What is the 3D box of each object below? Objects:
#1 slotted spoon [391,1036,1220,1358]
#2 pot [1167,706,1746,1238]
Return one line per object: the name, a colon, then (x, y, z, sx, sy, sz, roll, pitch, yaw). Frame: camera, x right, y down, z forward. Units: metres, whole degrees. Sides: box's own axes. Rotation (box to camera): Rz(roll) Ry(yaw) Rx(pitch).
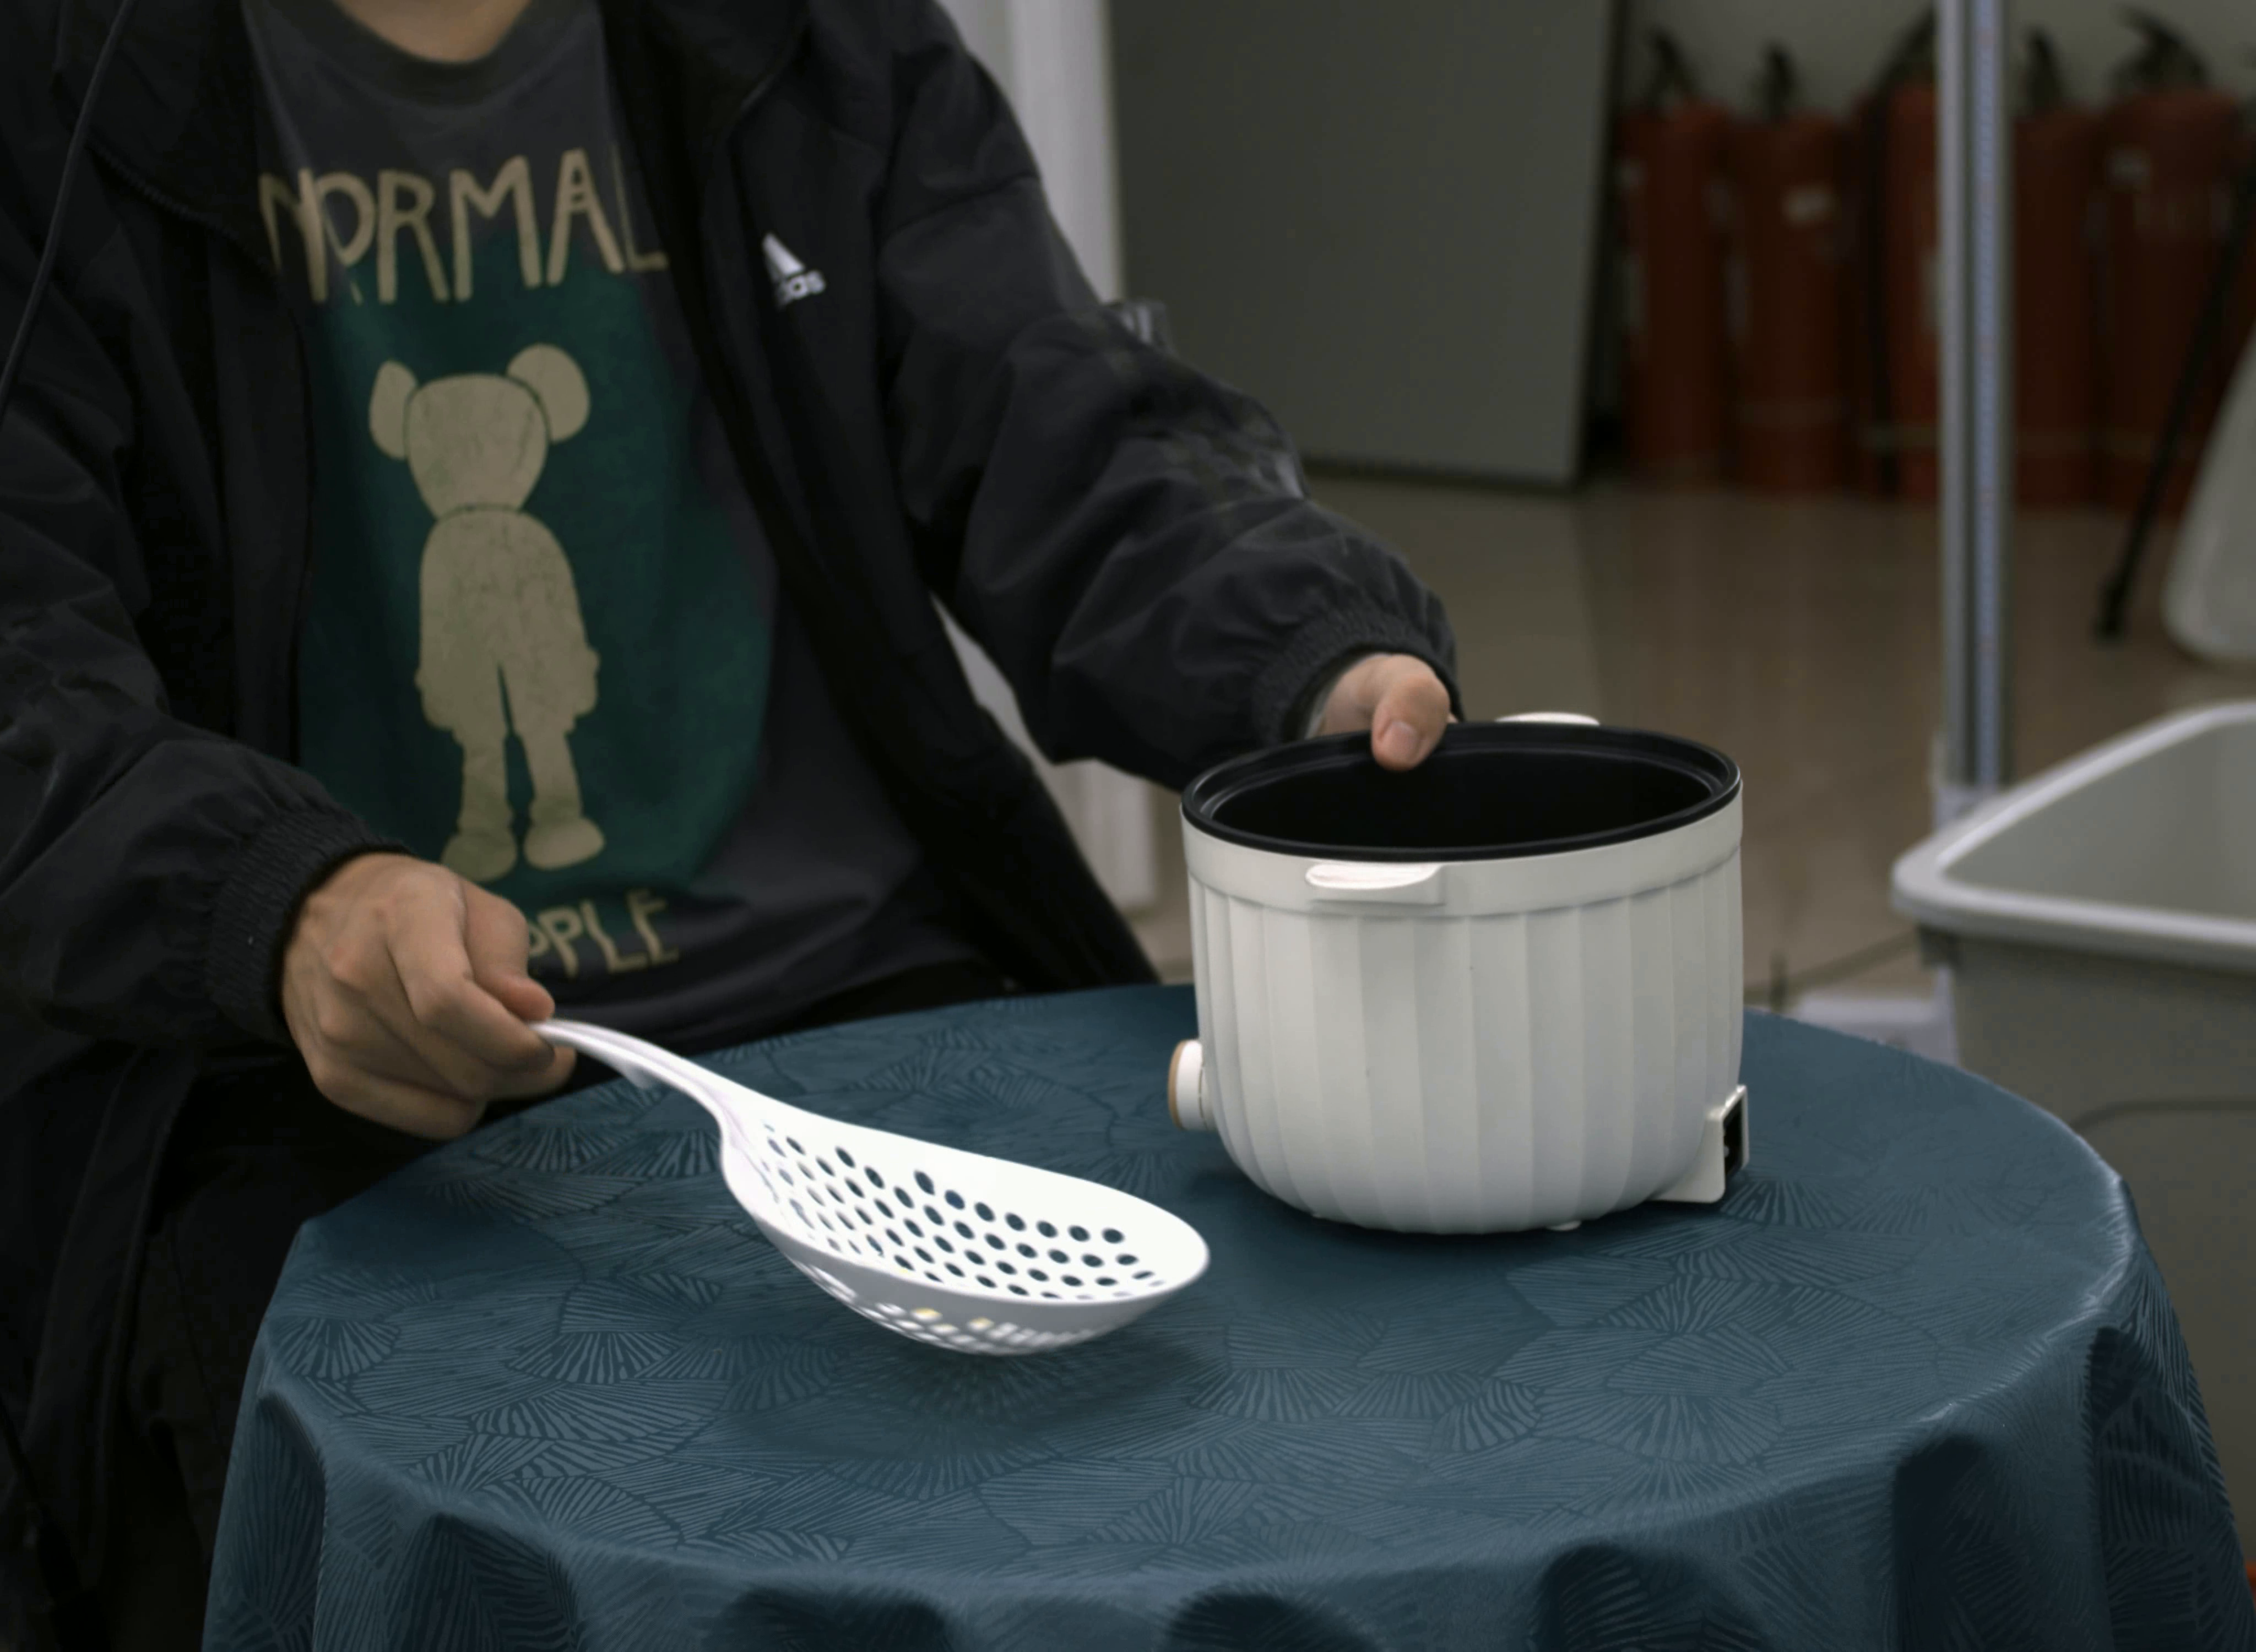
slotted spoon: (-0.117, 0.102, 1.686, 0.134, 0.051, 0.351, -6, 21, -42)
pot: (0.105, 0.050, 1.740, 0.190, 0.144, 0.238, 4, 14, 19)
